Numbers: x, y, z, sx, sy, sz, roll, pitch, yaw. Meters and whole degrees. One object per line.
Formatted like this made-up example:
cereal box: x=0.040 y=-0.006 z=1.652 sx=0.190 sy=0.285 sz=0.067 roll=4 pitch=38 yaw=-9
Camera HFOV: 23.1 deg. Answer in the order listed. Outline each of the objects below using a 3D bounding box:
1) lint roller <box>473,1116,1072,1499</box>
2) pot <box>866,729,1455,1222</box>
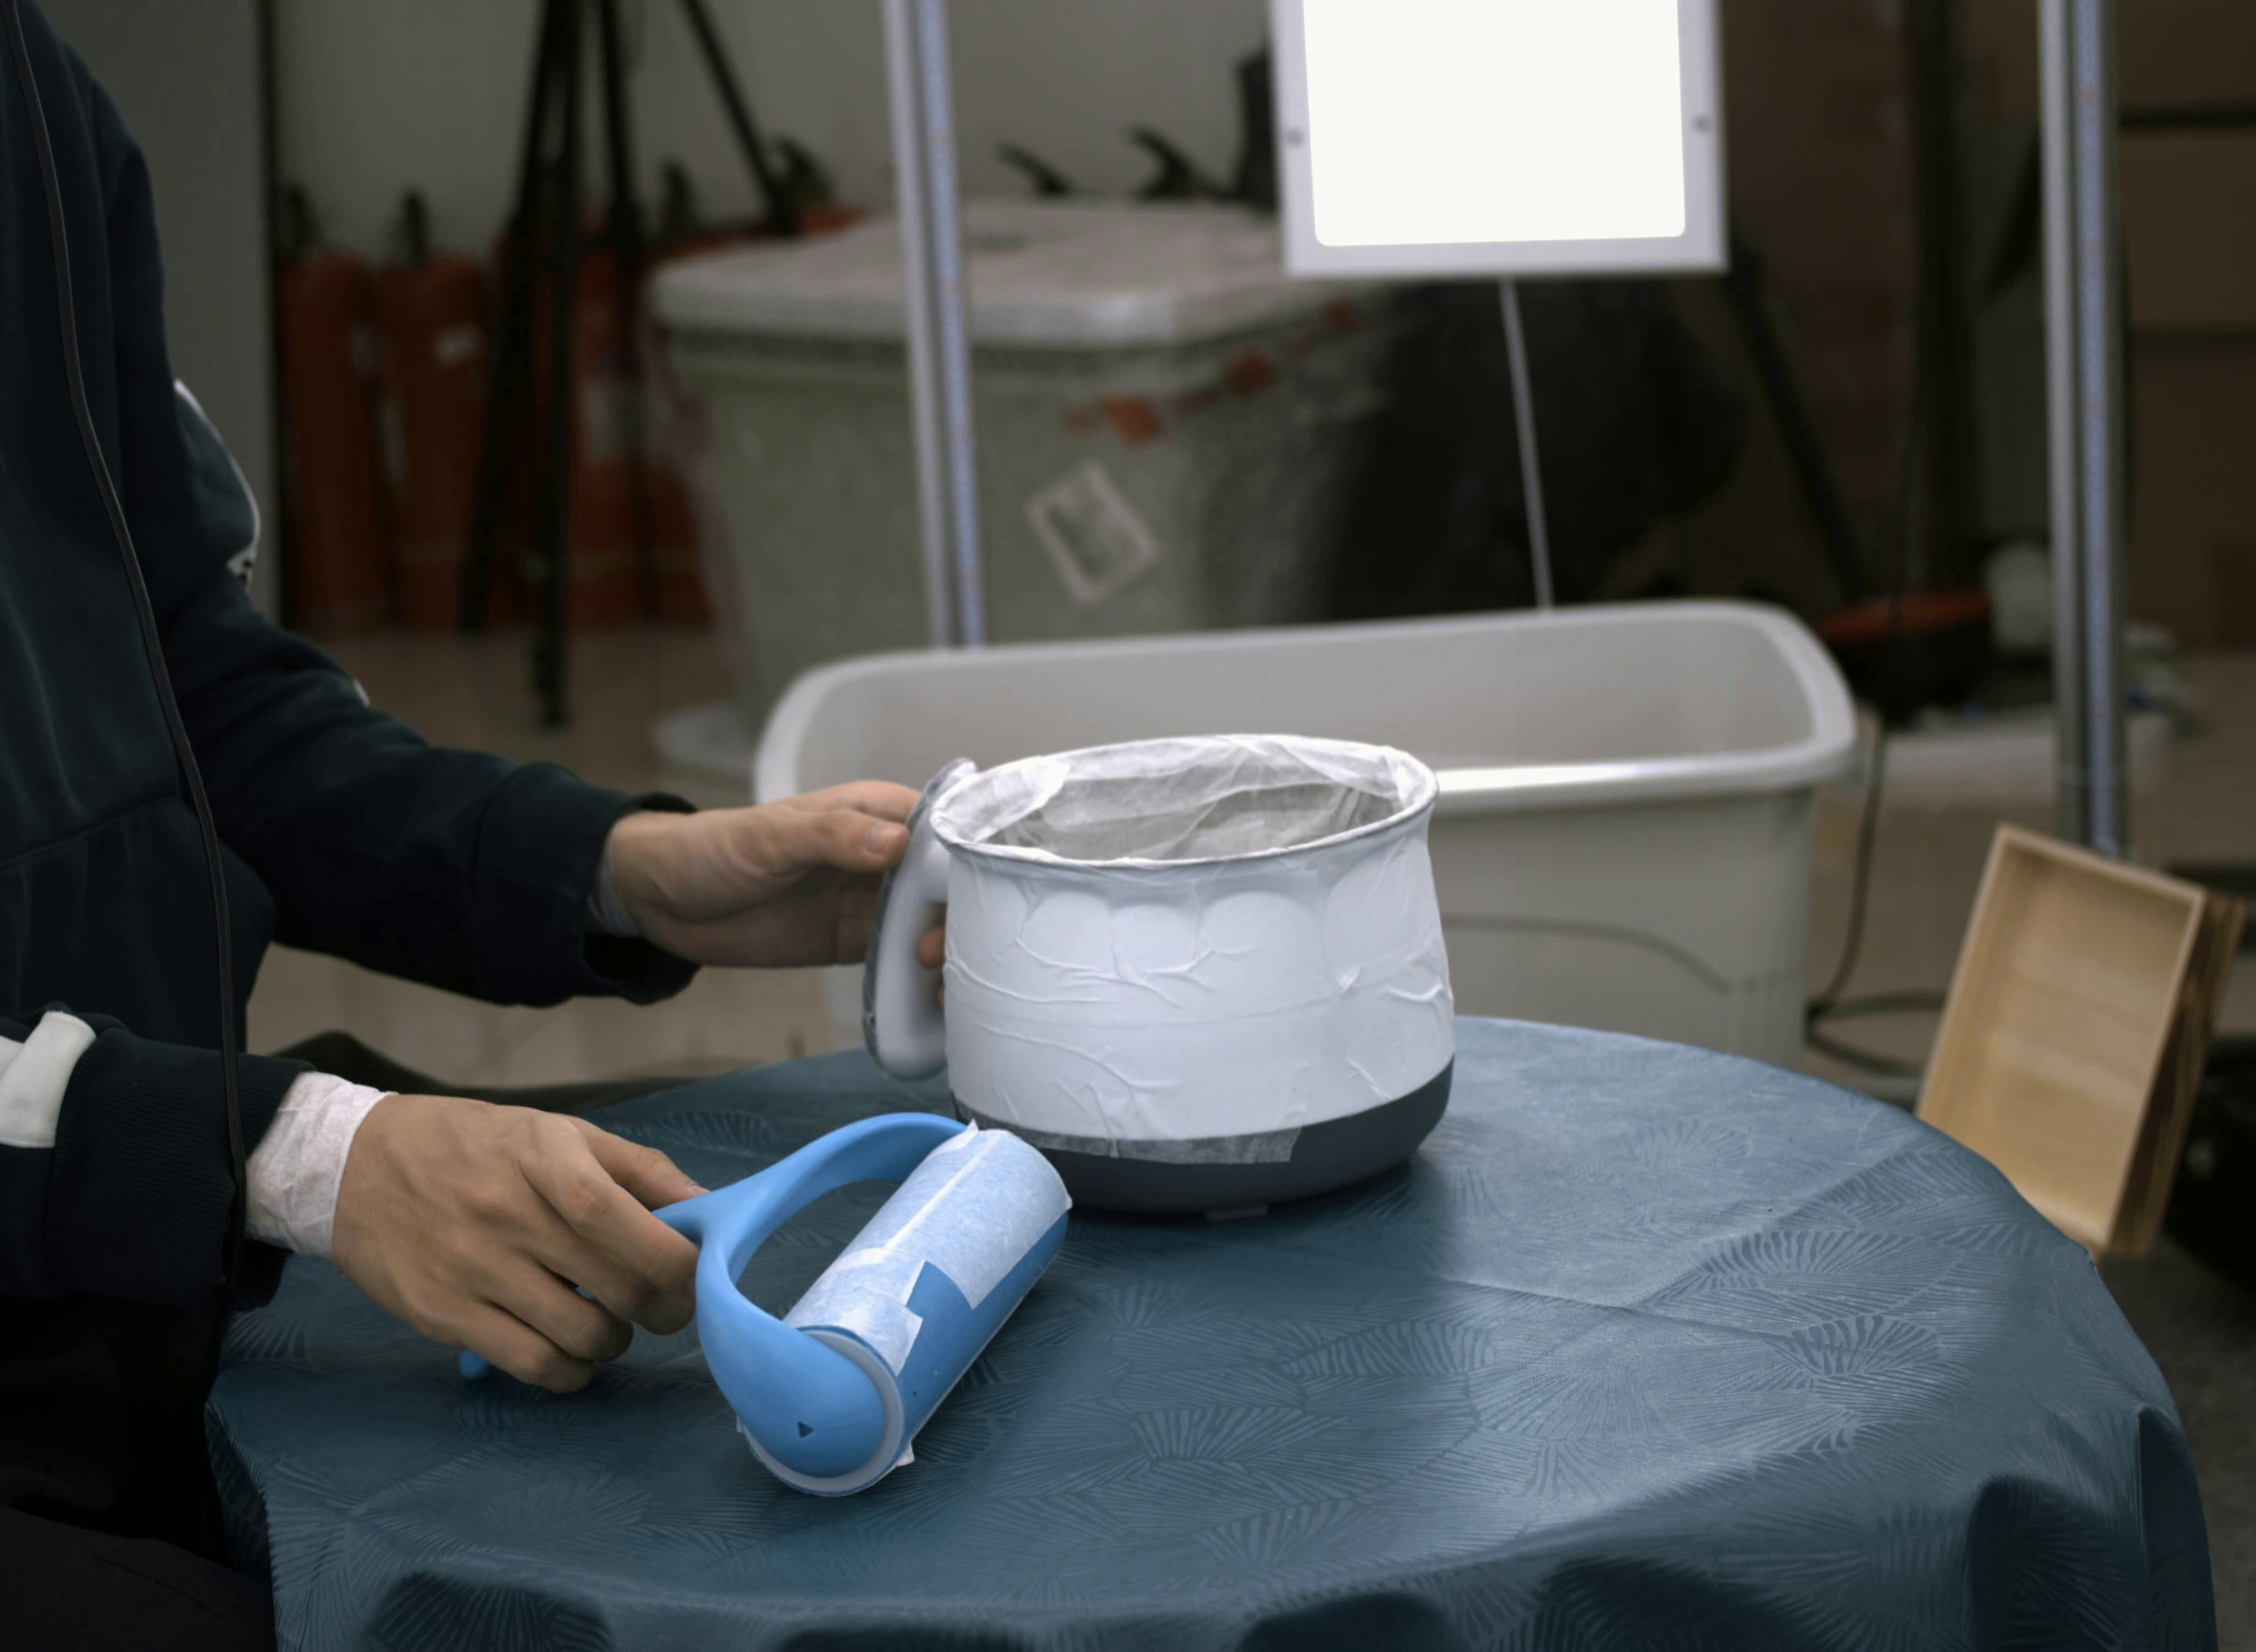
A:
lint roller: x=-0.122 y=0.149 z=1.729 sx=0.181 sy=0.068 sz=0.226 roll=-1 pitch=16 yaw=12
pot: x=0.002 y=0.047 z=1.922 sx=0.238 sy=0.137 sz=0.174 roll=8 pitch=18 yaw=37
